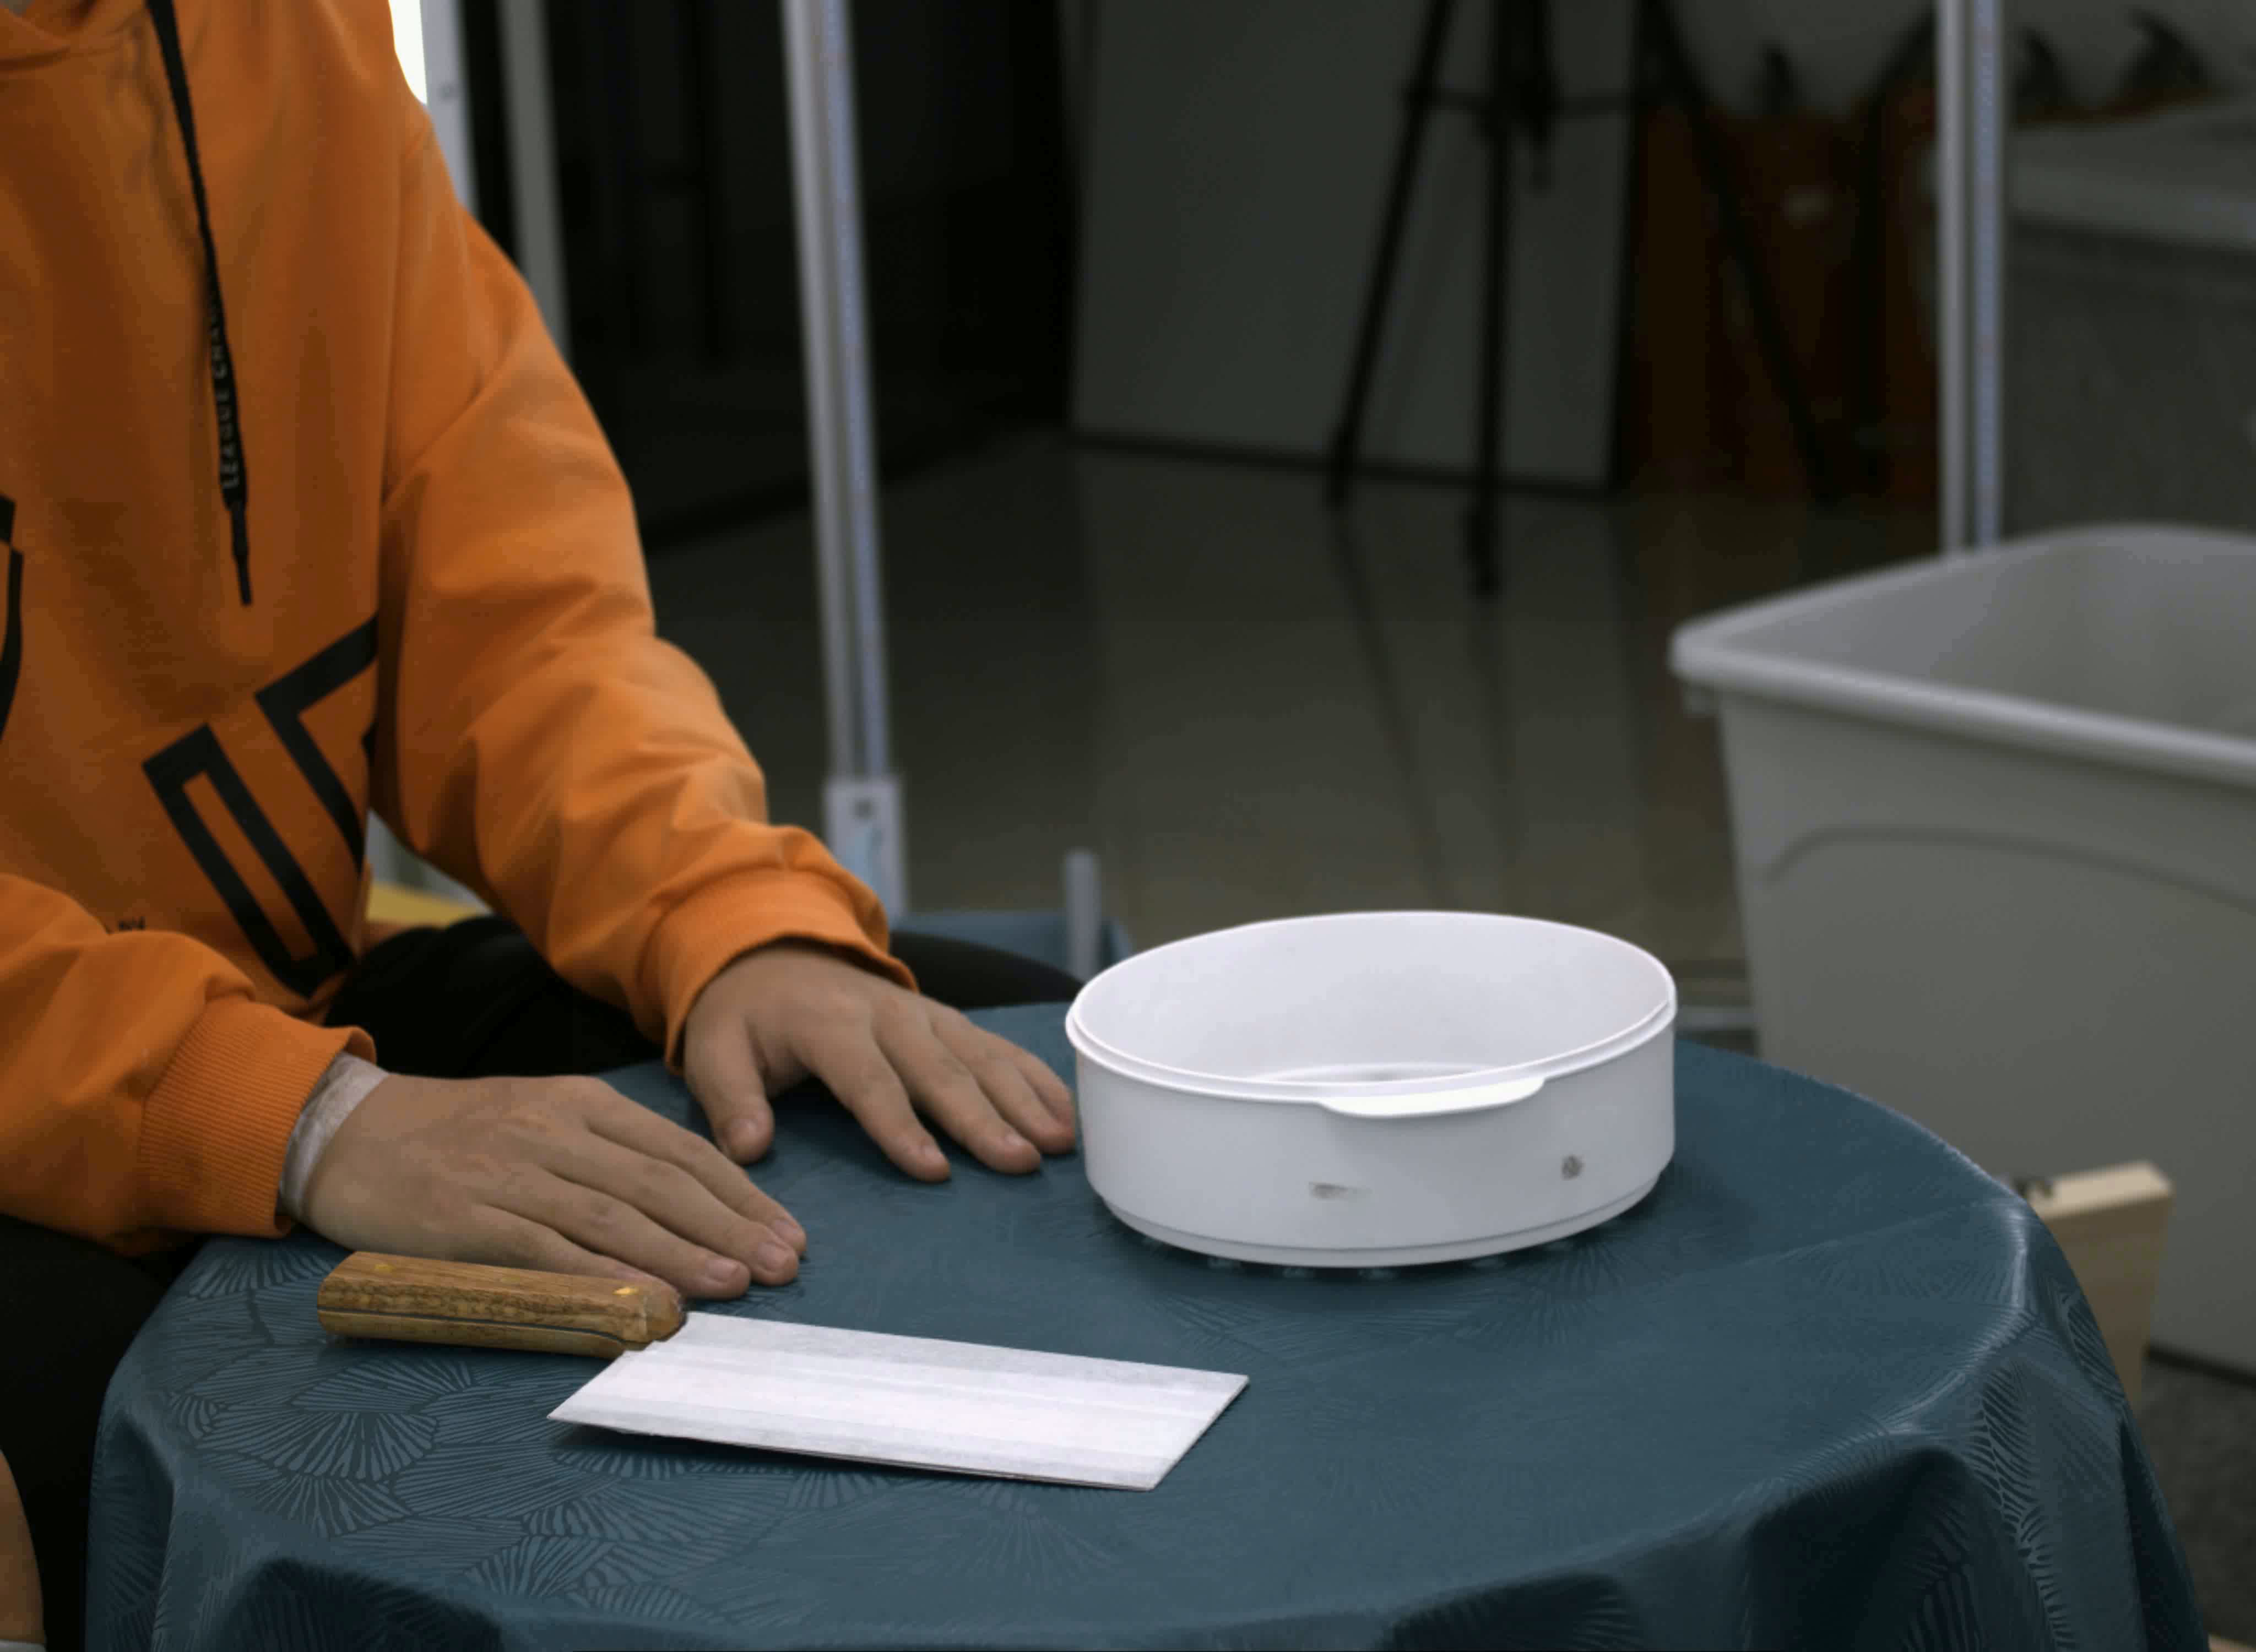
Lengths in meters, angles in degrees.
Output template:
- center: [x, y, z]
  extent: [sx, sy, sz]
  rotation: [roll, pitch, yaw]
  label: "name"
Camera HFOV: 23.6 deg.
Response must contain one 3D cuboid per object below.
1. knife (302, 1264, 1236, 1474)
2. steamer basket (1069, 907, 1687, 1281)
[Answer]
- center: [-0.119, 0.164, 1.602]
  extent: [0.305, 0.021, 0.092]
  rotation: [4, 17, 22]
  label: "knife"
- center: [0.082, 0.086, 1.742]
  extent: [0.198, 0.070, 0.232]
  rotation: [-7, 16, -7]
  label: "steamer basket"
